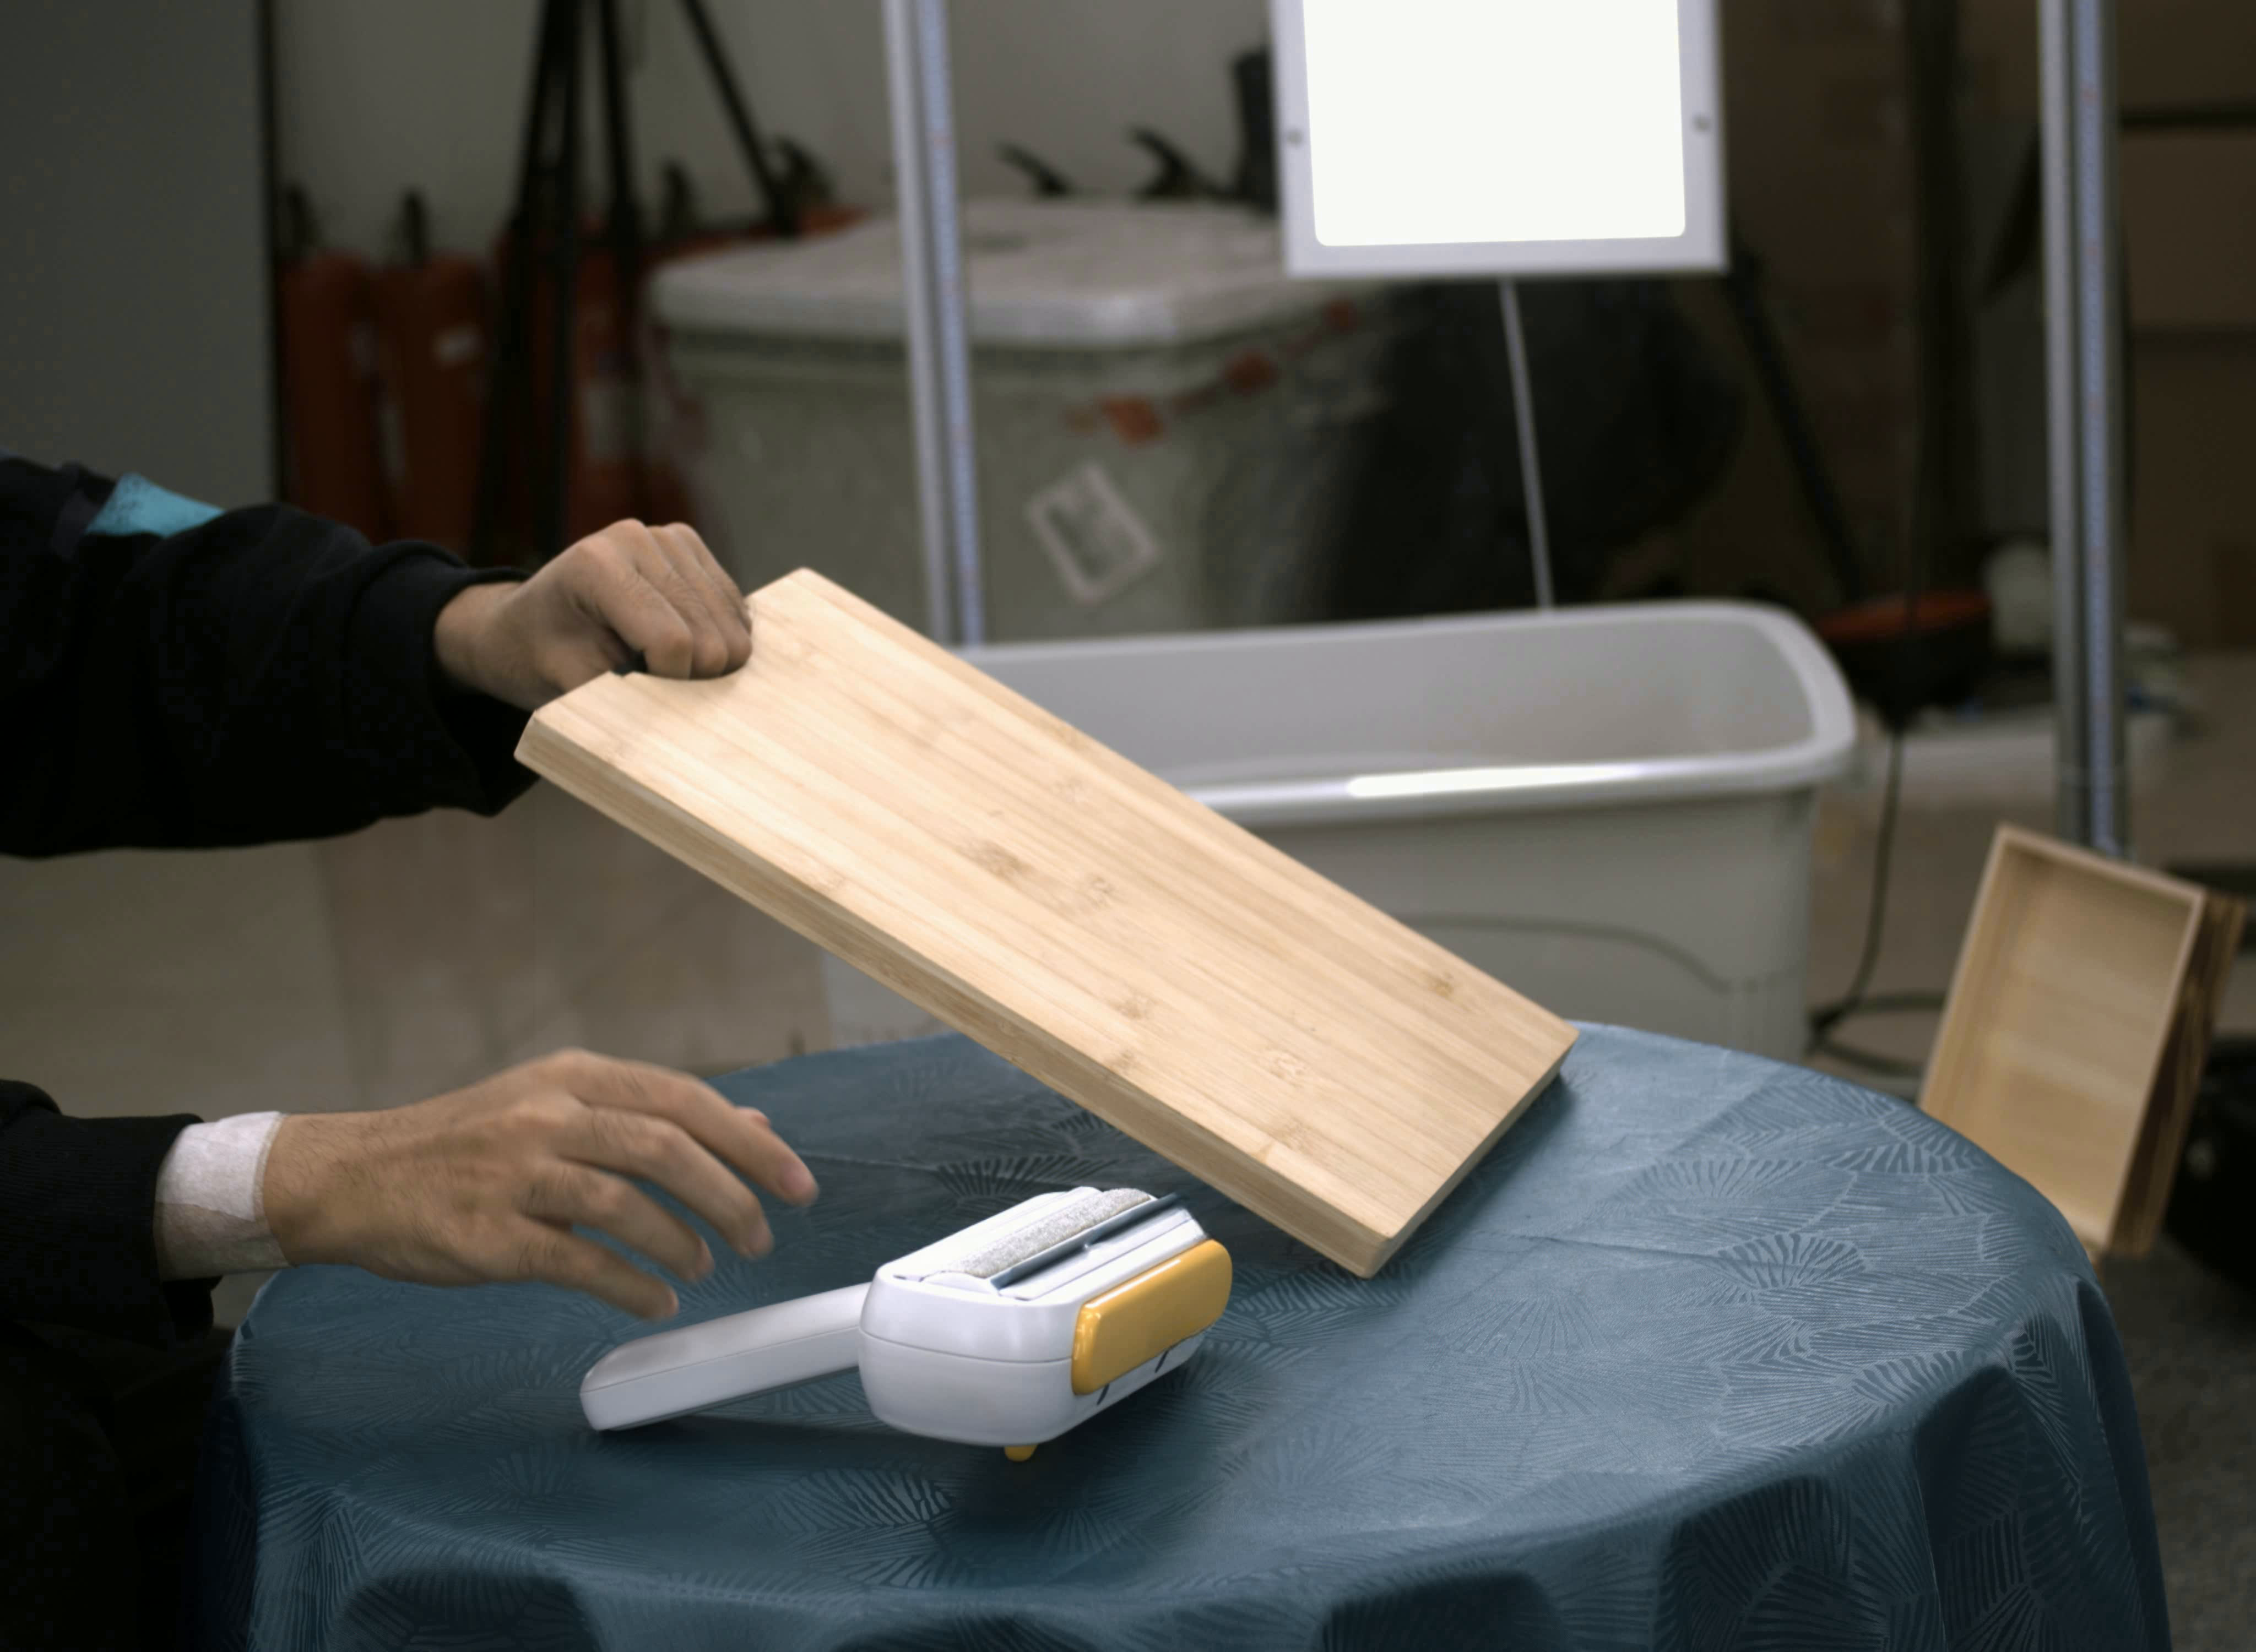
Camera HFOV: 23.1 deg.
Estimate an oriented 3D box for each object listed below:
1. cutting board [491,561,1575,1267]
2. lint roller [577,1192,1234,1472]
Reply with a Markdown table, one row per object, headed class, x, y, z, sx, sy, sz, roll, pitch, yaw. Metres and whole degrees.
| class | x | y | z | sx | sy | sz | roll | pitch | yaw |
| --- | --- | --- | --- | --- | --- | --- | --- | --- | --- |
| cutting board | -0.027 | 0.024 | 1.921 | 0.350 | 0.024 | 0.246 | 30 | 23 | 11 |
| lint roller | -0.080 | 0.154 | 1.671 | 0.195 | 0.074 | 0.189 | -1 | 9 | 23 |
